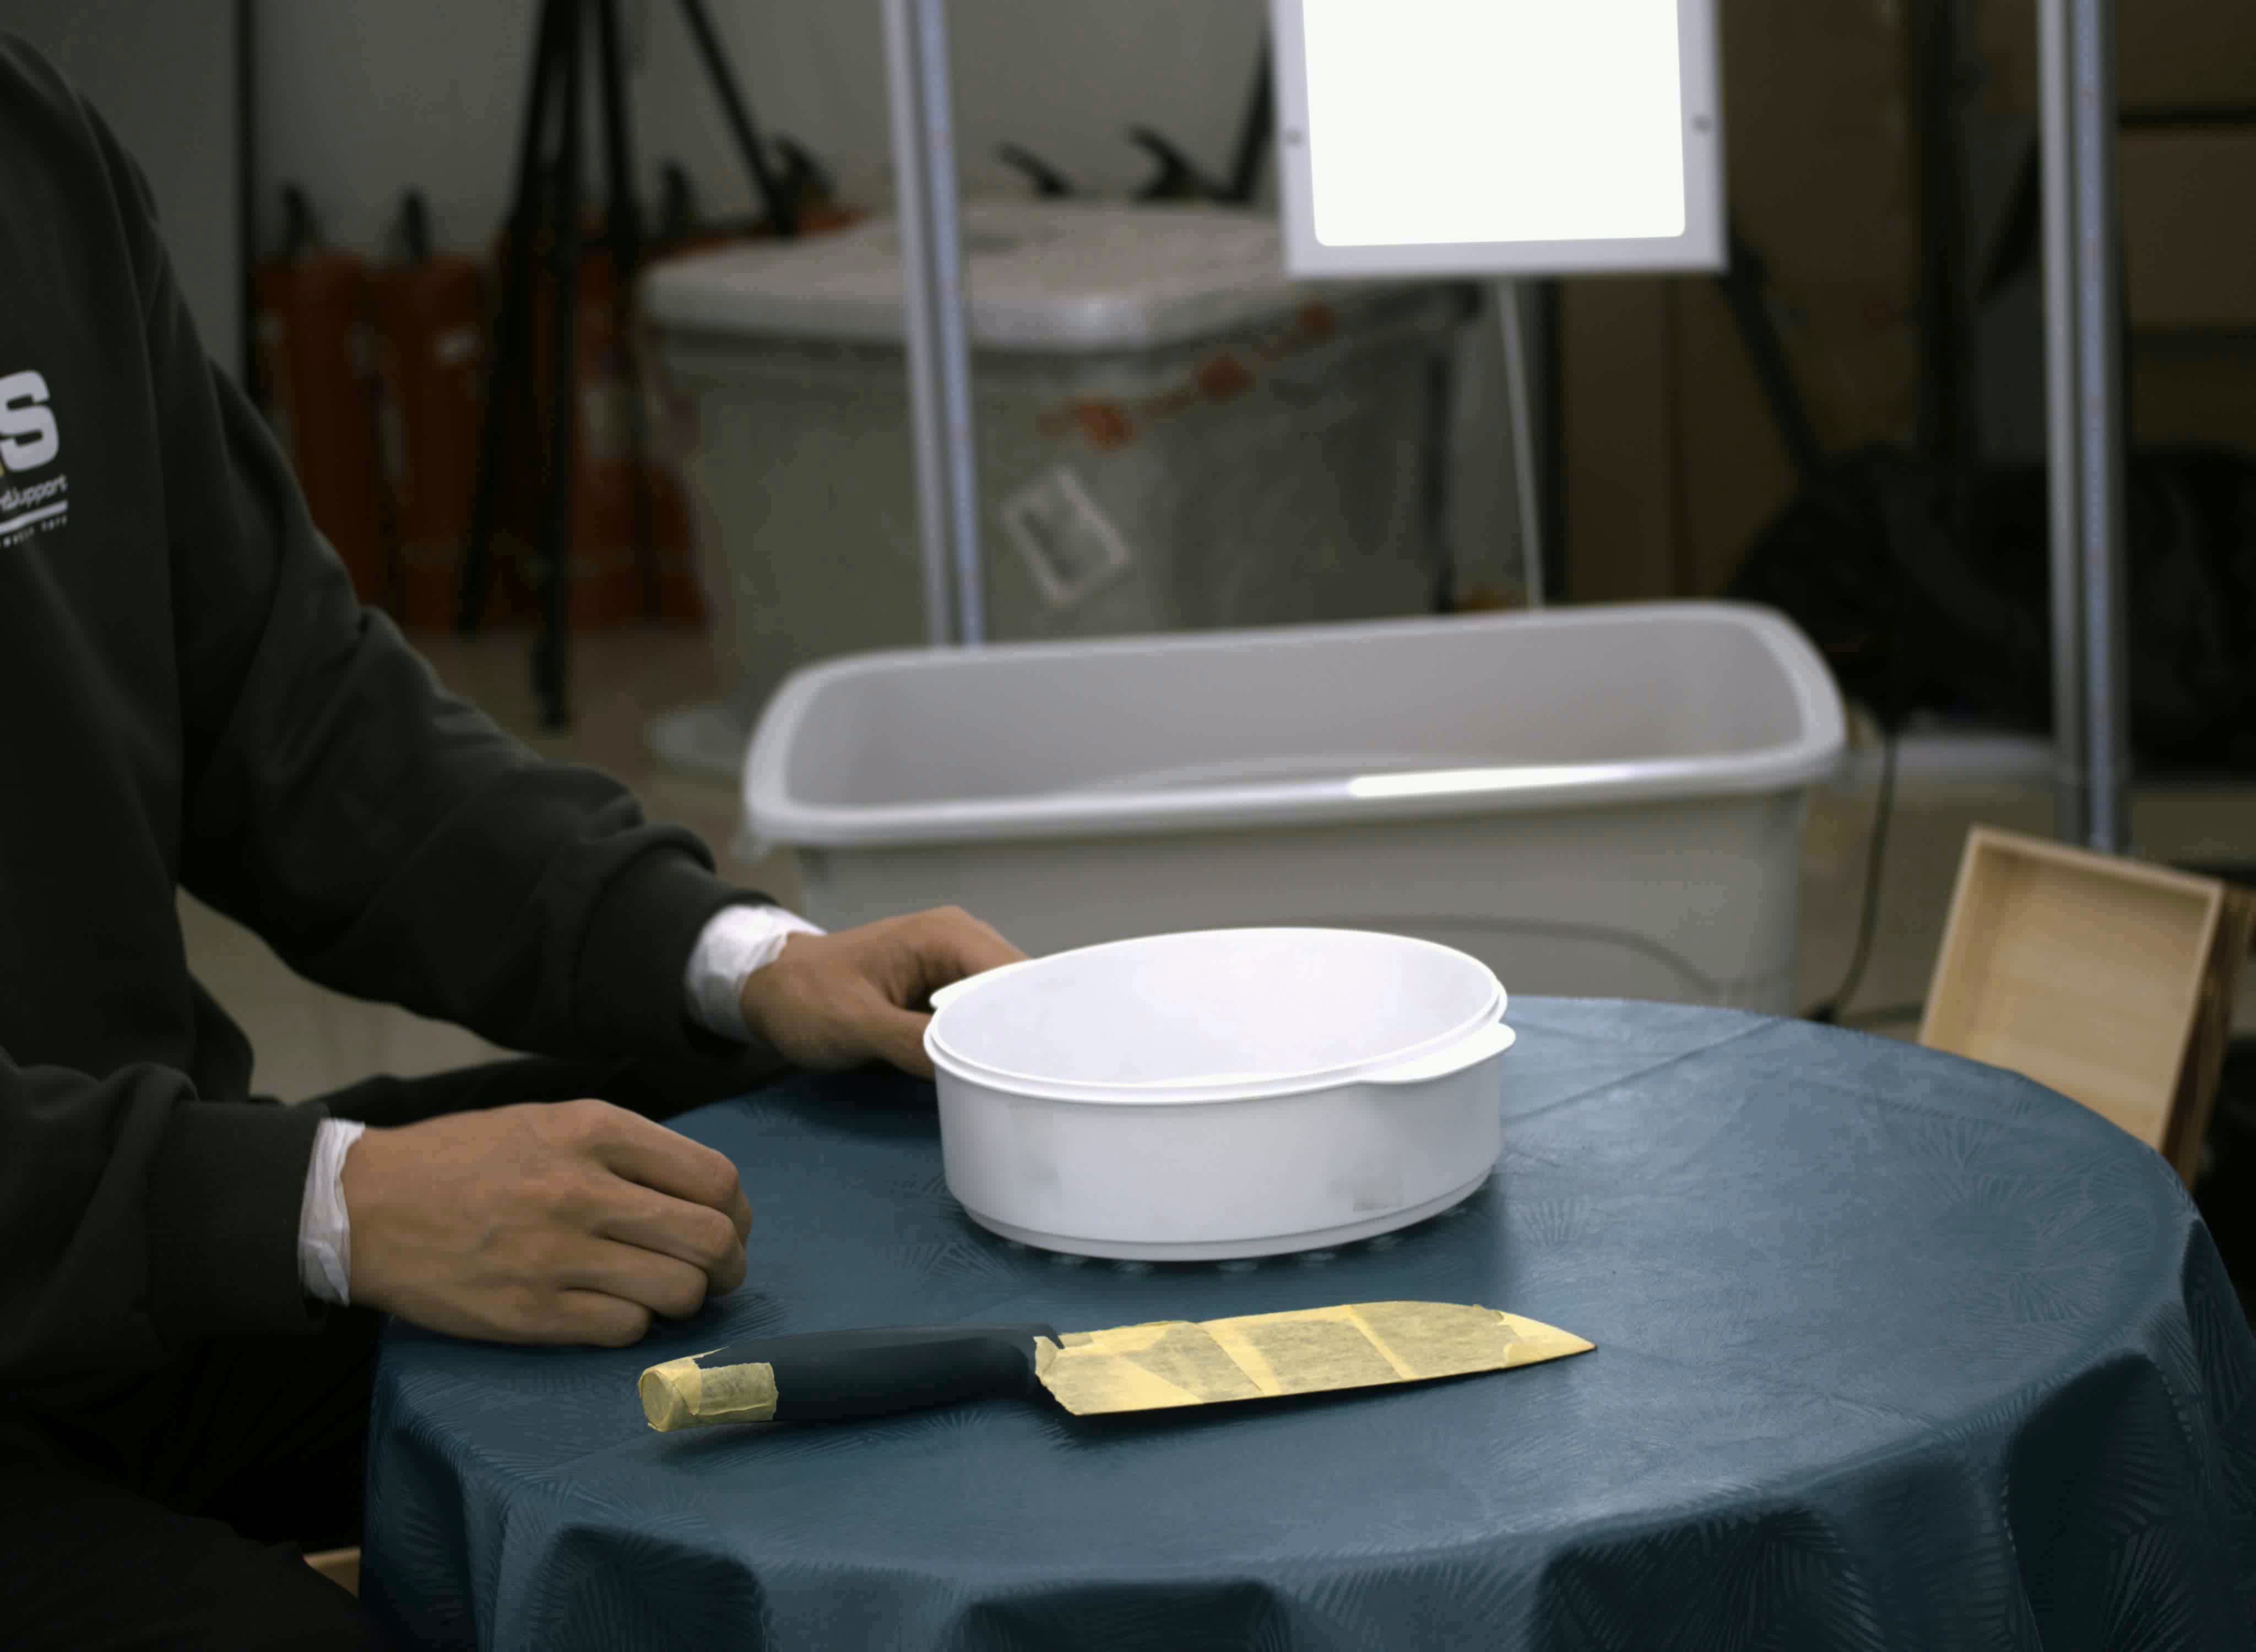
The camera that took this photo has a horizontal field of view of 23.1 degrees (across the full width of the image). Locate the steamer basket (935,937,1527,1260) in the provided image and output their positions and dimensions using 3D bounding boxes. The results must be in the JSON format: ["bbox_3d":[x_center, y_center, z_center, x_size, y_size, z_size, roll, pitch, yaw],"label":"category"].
[{"bbox_3d":[0.036,0.093,1.885,0.235,0.069,0.197,6,17,43],"label":"steamer basket"}]

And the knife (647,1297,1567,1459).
[{"bbox_3d":[-0.003,0.169,1.698,0.286,0.027,0.081,-6,12,-8],"label":"knife"}]
